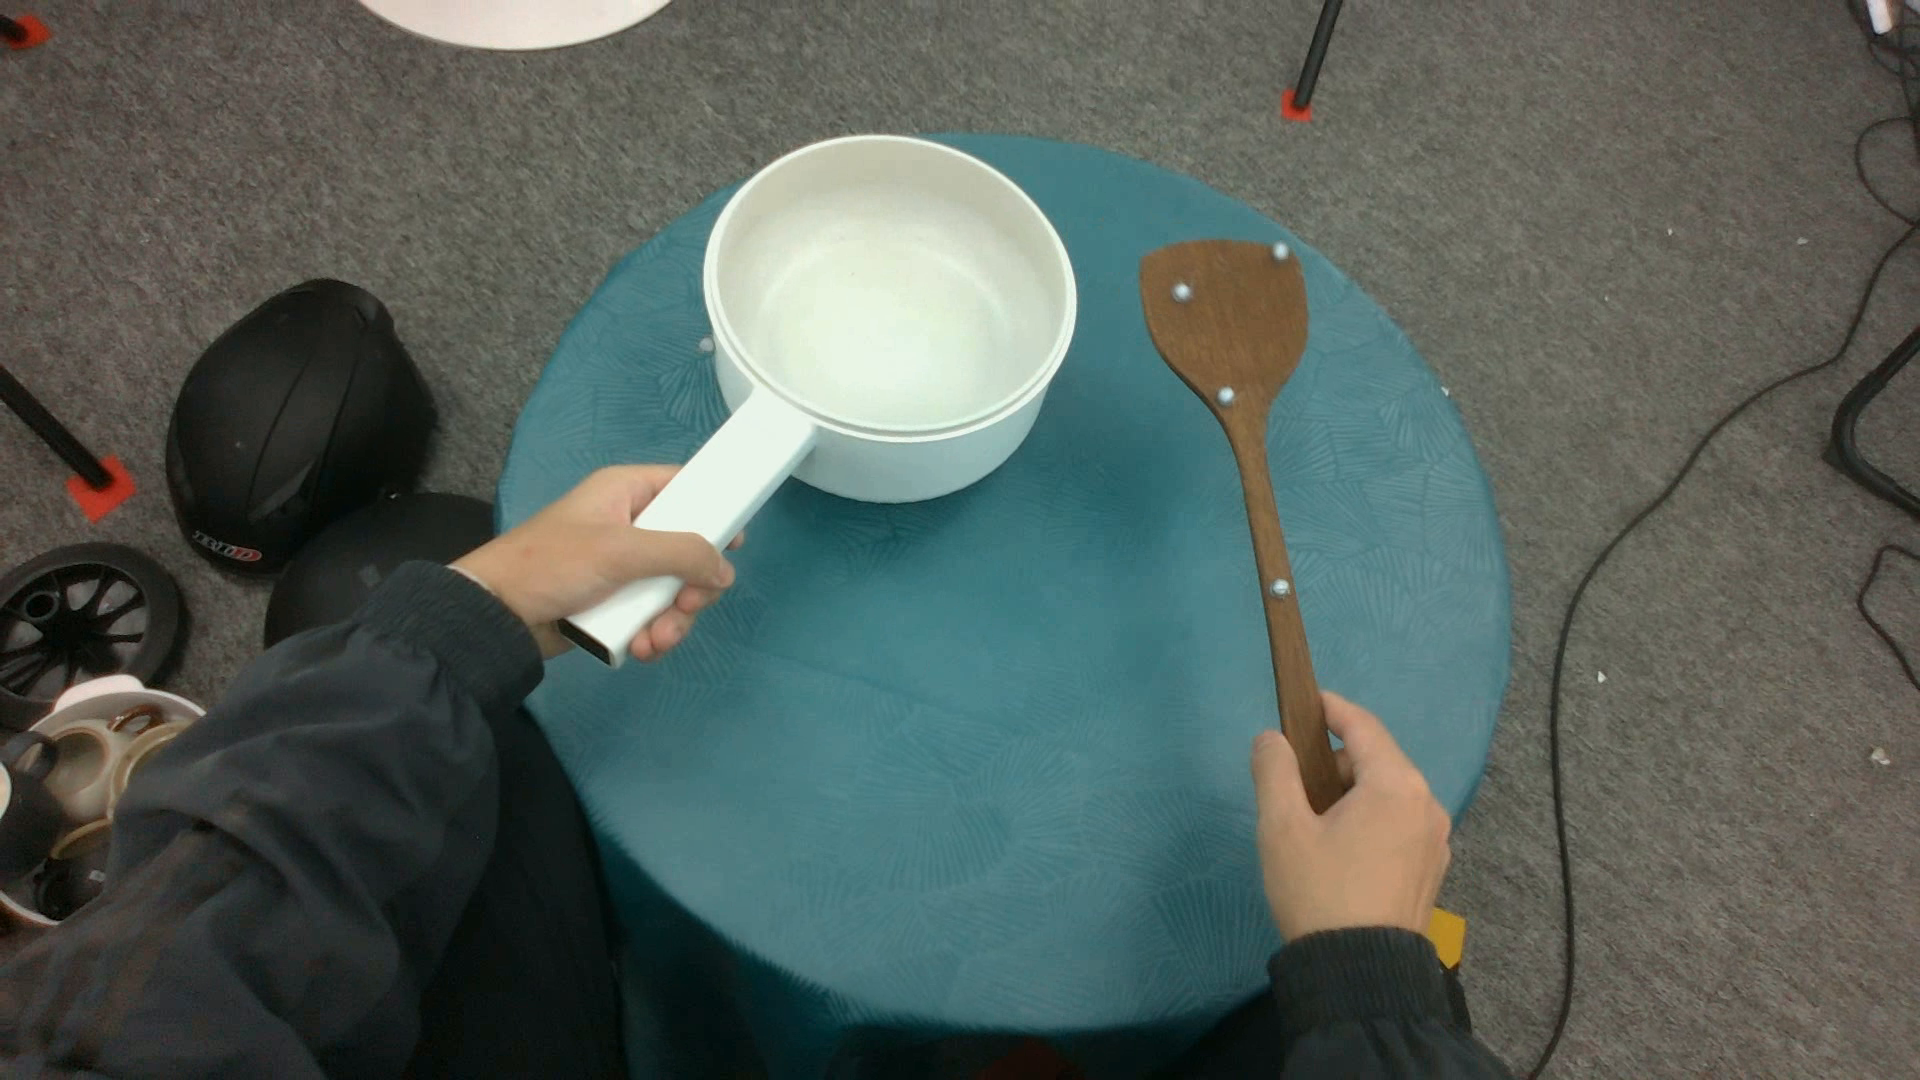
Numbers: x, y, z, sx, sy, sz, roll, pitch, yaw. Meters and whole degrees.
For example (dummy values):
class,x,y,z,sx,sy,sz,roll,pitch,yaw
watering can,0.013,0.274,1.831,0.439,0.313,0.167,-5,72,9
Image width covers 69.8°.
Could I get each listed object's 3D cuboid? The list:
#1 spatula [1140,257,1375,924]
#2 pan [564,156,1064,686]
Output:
class,x,y,z,sx,sy,sz,roll,pitch,yaw
spatula,0.166,0.006,0.730,0.096,0.016,0.387,-2,63,-8
pan,-0.085,-0.057,0.767,0.201,0.101,0.356,30,64,9
